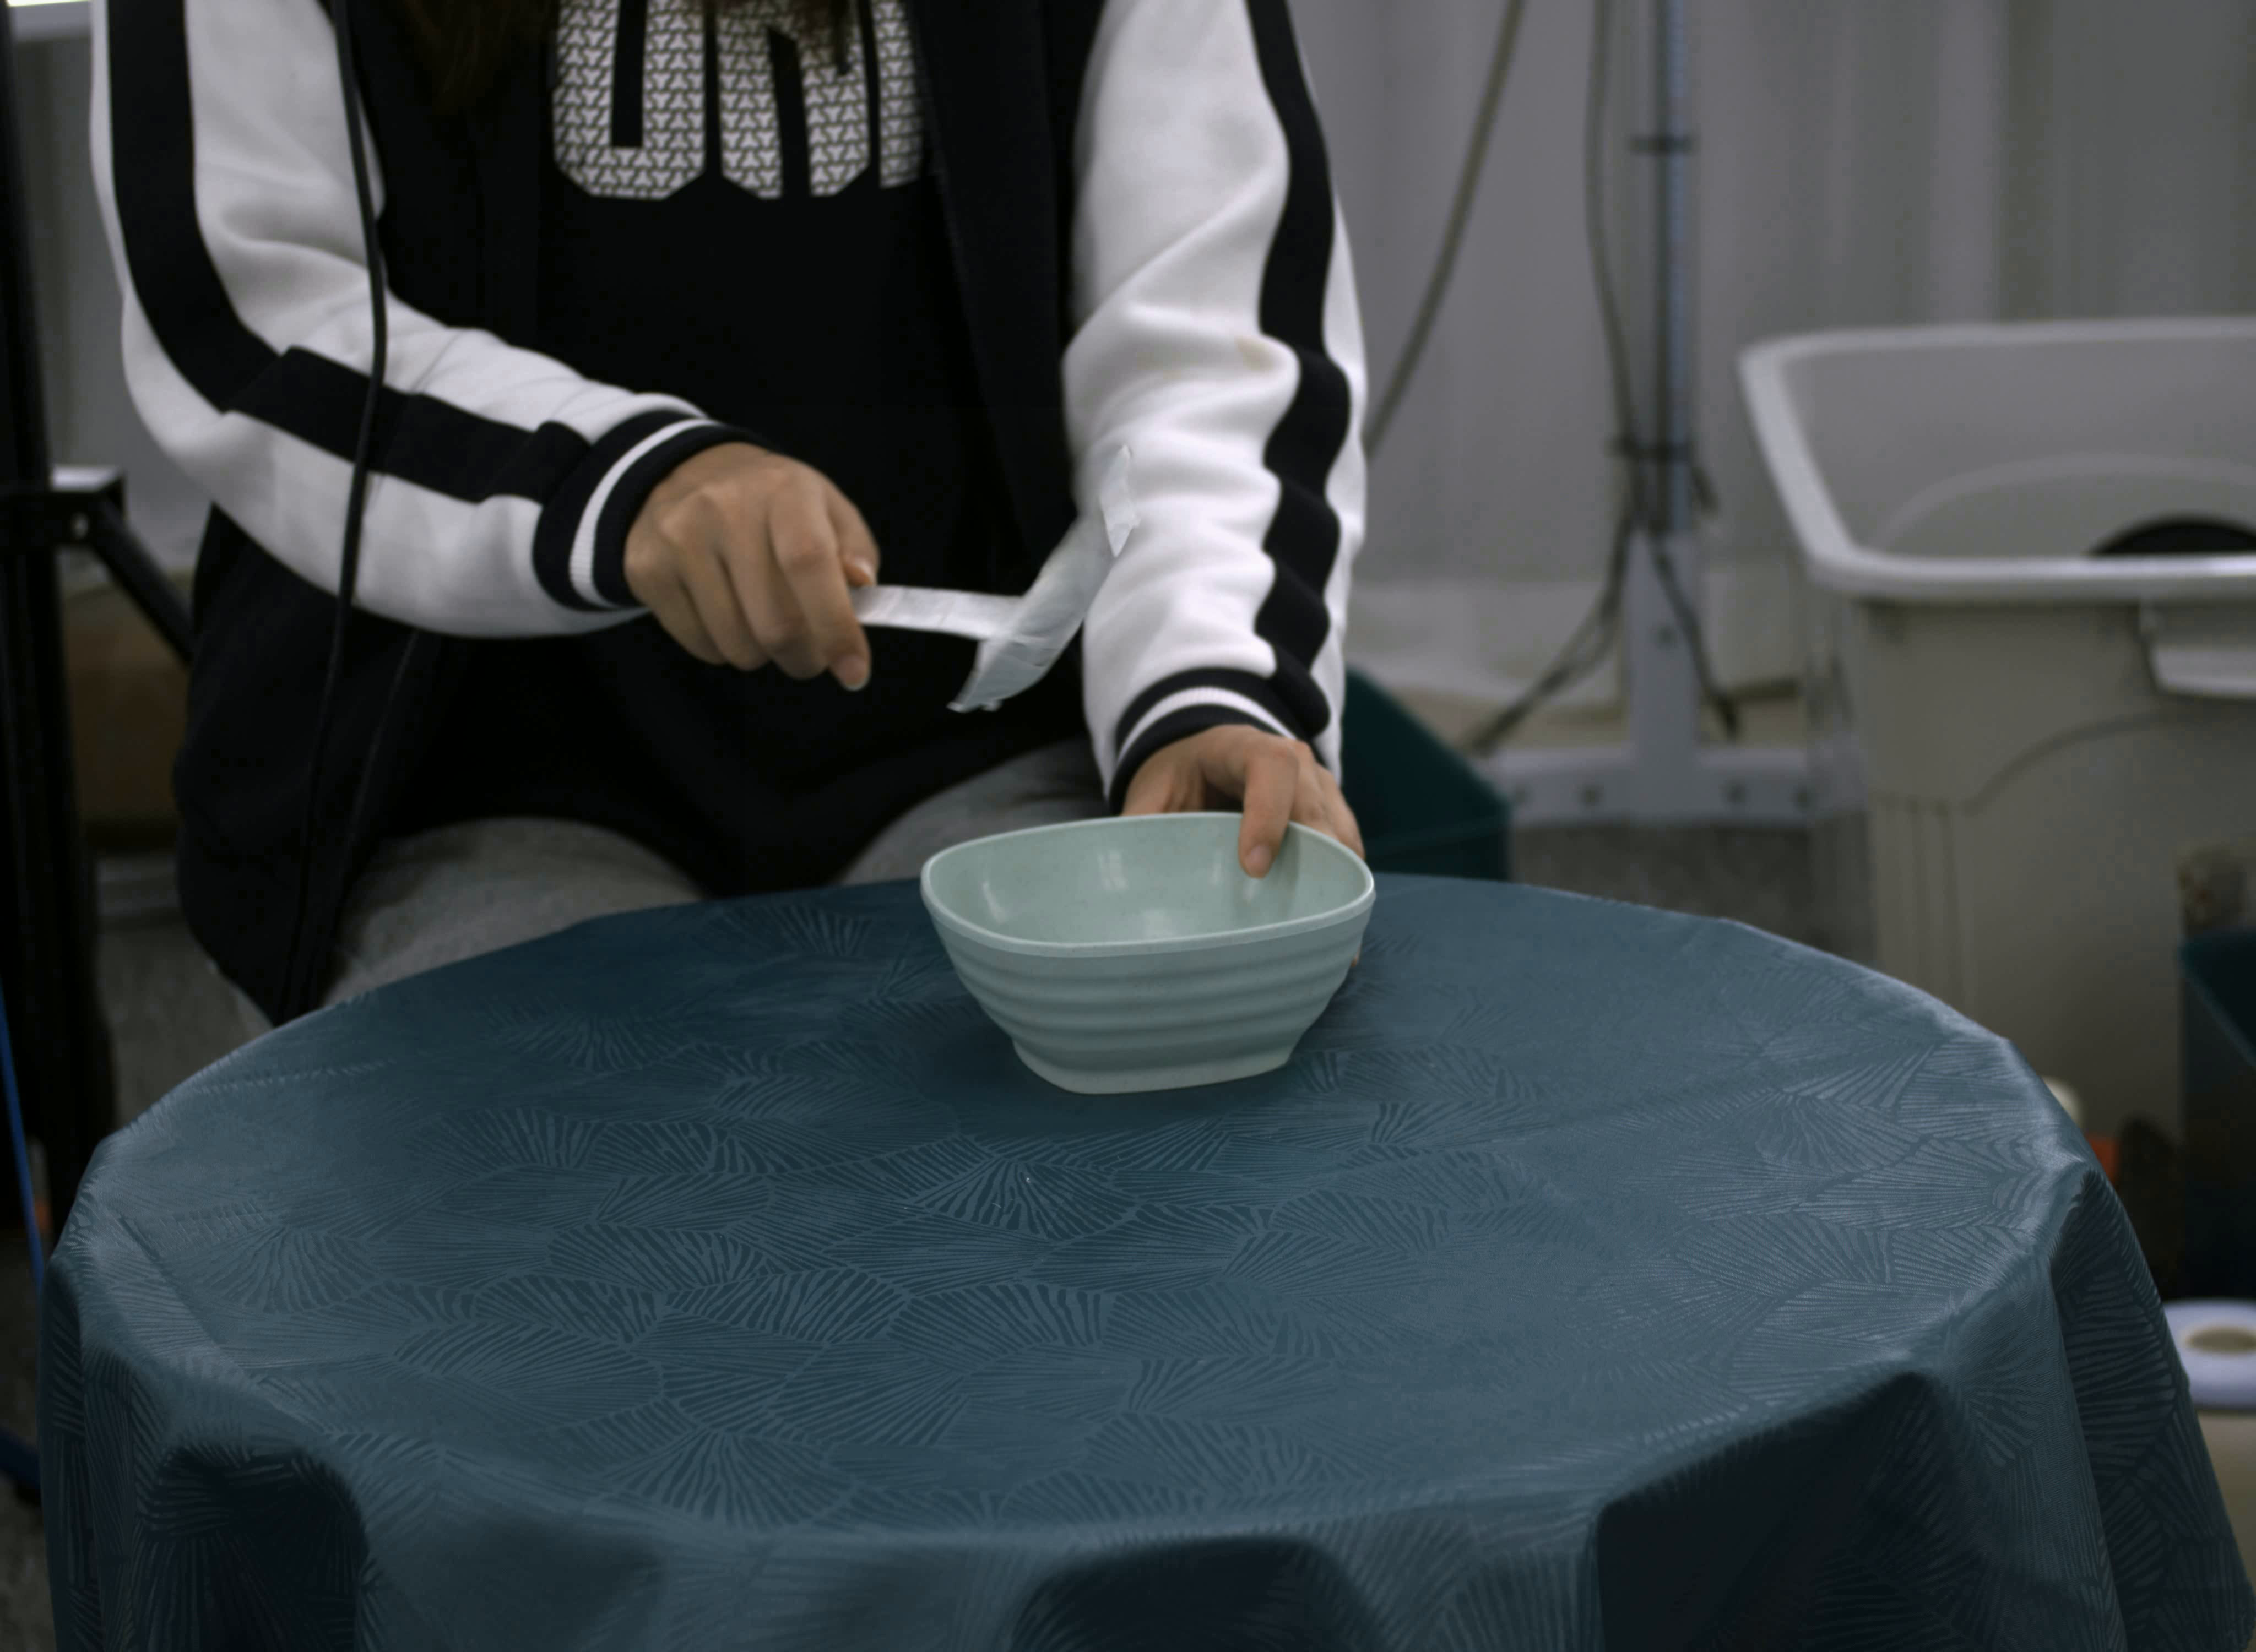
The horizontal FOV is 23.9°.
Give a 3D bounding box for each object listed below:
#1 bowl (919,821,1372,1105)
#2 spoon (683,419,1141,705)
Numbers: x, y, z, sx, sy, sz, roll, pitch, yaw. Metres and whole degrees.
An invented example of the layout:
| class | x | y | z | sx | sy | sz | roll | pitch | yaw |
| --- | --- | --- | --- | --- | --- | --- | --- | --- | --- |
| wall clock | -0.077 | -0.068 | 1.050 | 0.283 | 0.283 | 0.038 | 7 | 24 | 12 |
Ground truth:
| class | x | y | z | sx | sy | sz | roll | pitch | yaw |
| --- | --- | --- | --- | --- | --- | --- | --- | --- | --- |
| bowl | 0.006 | 0.046 | 1.682 | 0.150 | 0.058 | 0.152 | -2 | 16 | -1 |
| spoon | -0.080 | -0.092 | 1.686 | 0.283 | 0.058 | 0.100 | 14 | 64 | 54 |
